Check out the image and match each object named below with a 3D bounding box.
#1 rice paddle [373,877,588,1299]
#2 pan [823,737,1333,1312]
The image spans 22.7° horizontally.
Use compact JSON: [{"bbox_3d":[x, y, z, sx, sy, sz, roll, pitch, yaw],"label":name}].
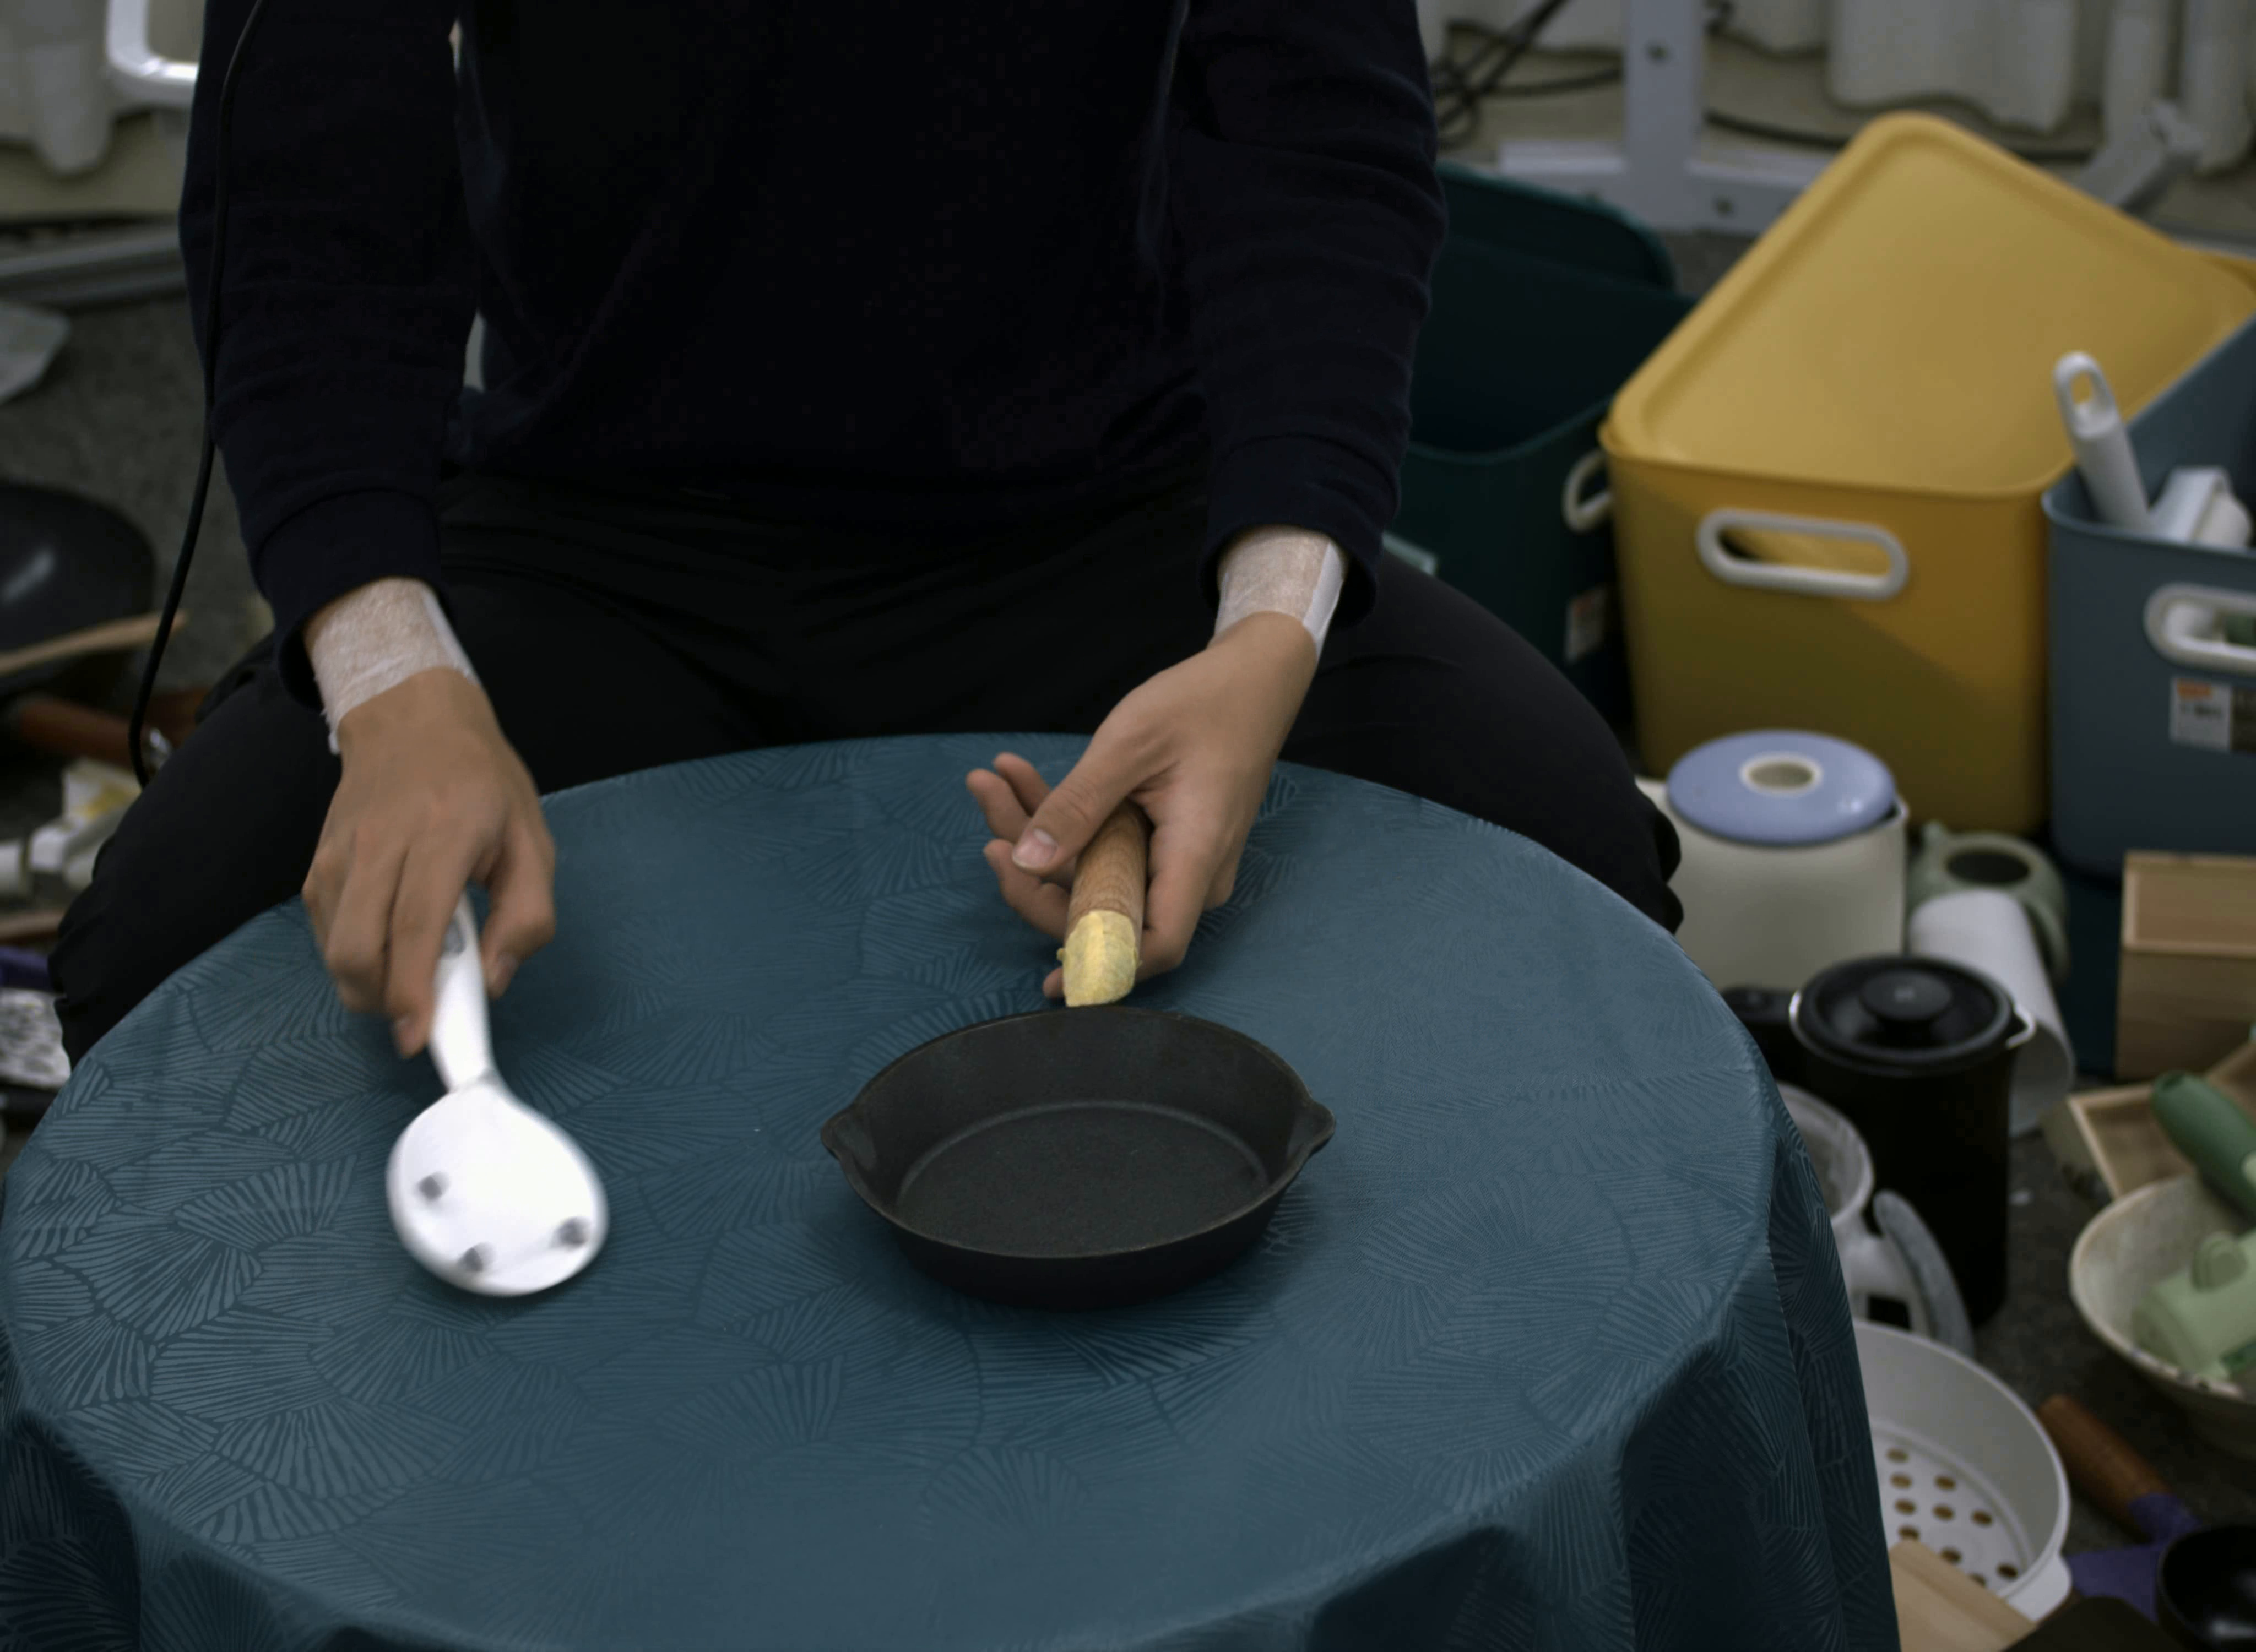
[{"bbox_3d":[-0.225,0.090,1.888,0.069,0.029,0.208,-3,36,-14],"label":"rice paddle"},{"bbox_3d":[-0.009,0.065,1.918,0.168,0.049,0.329,0,29,6],"label":"pan"}]
